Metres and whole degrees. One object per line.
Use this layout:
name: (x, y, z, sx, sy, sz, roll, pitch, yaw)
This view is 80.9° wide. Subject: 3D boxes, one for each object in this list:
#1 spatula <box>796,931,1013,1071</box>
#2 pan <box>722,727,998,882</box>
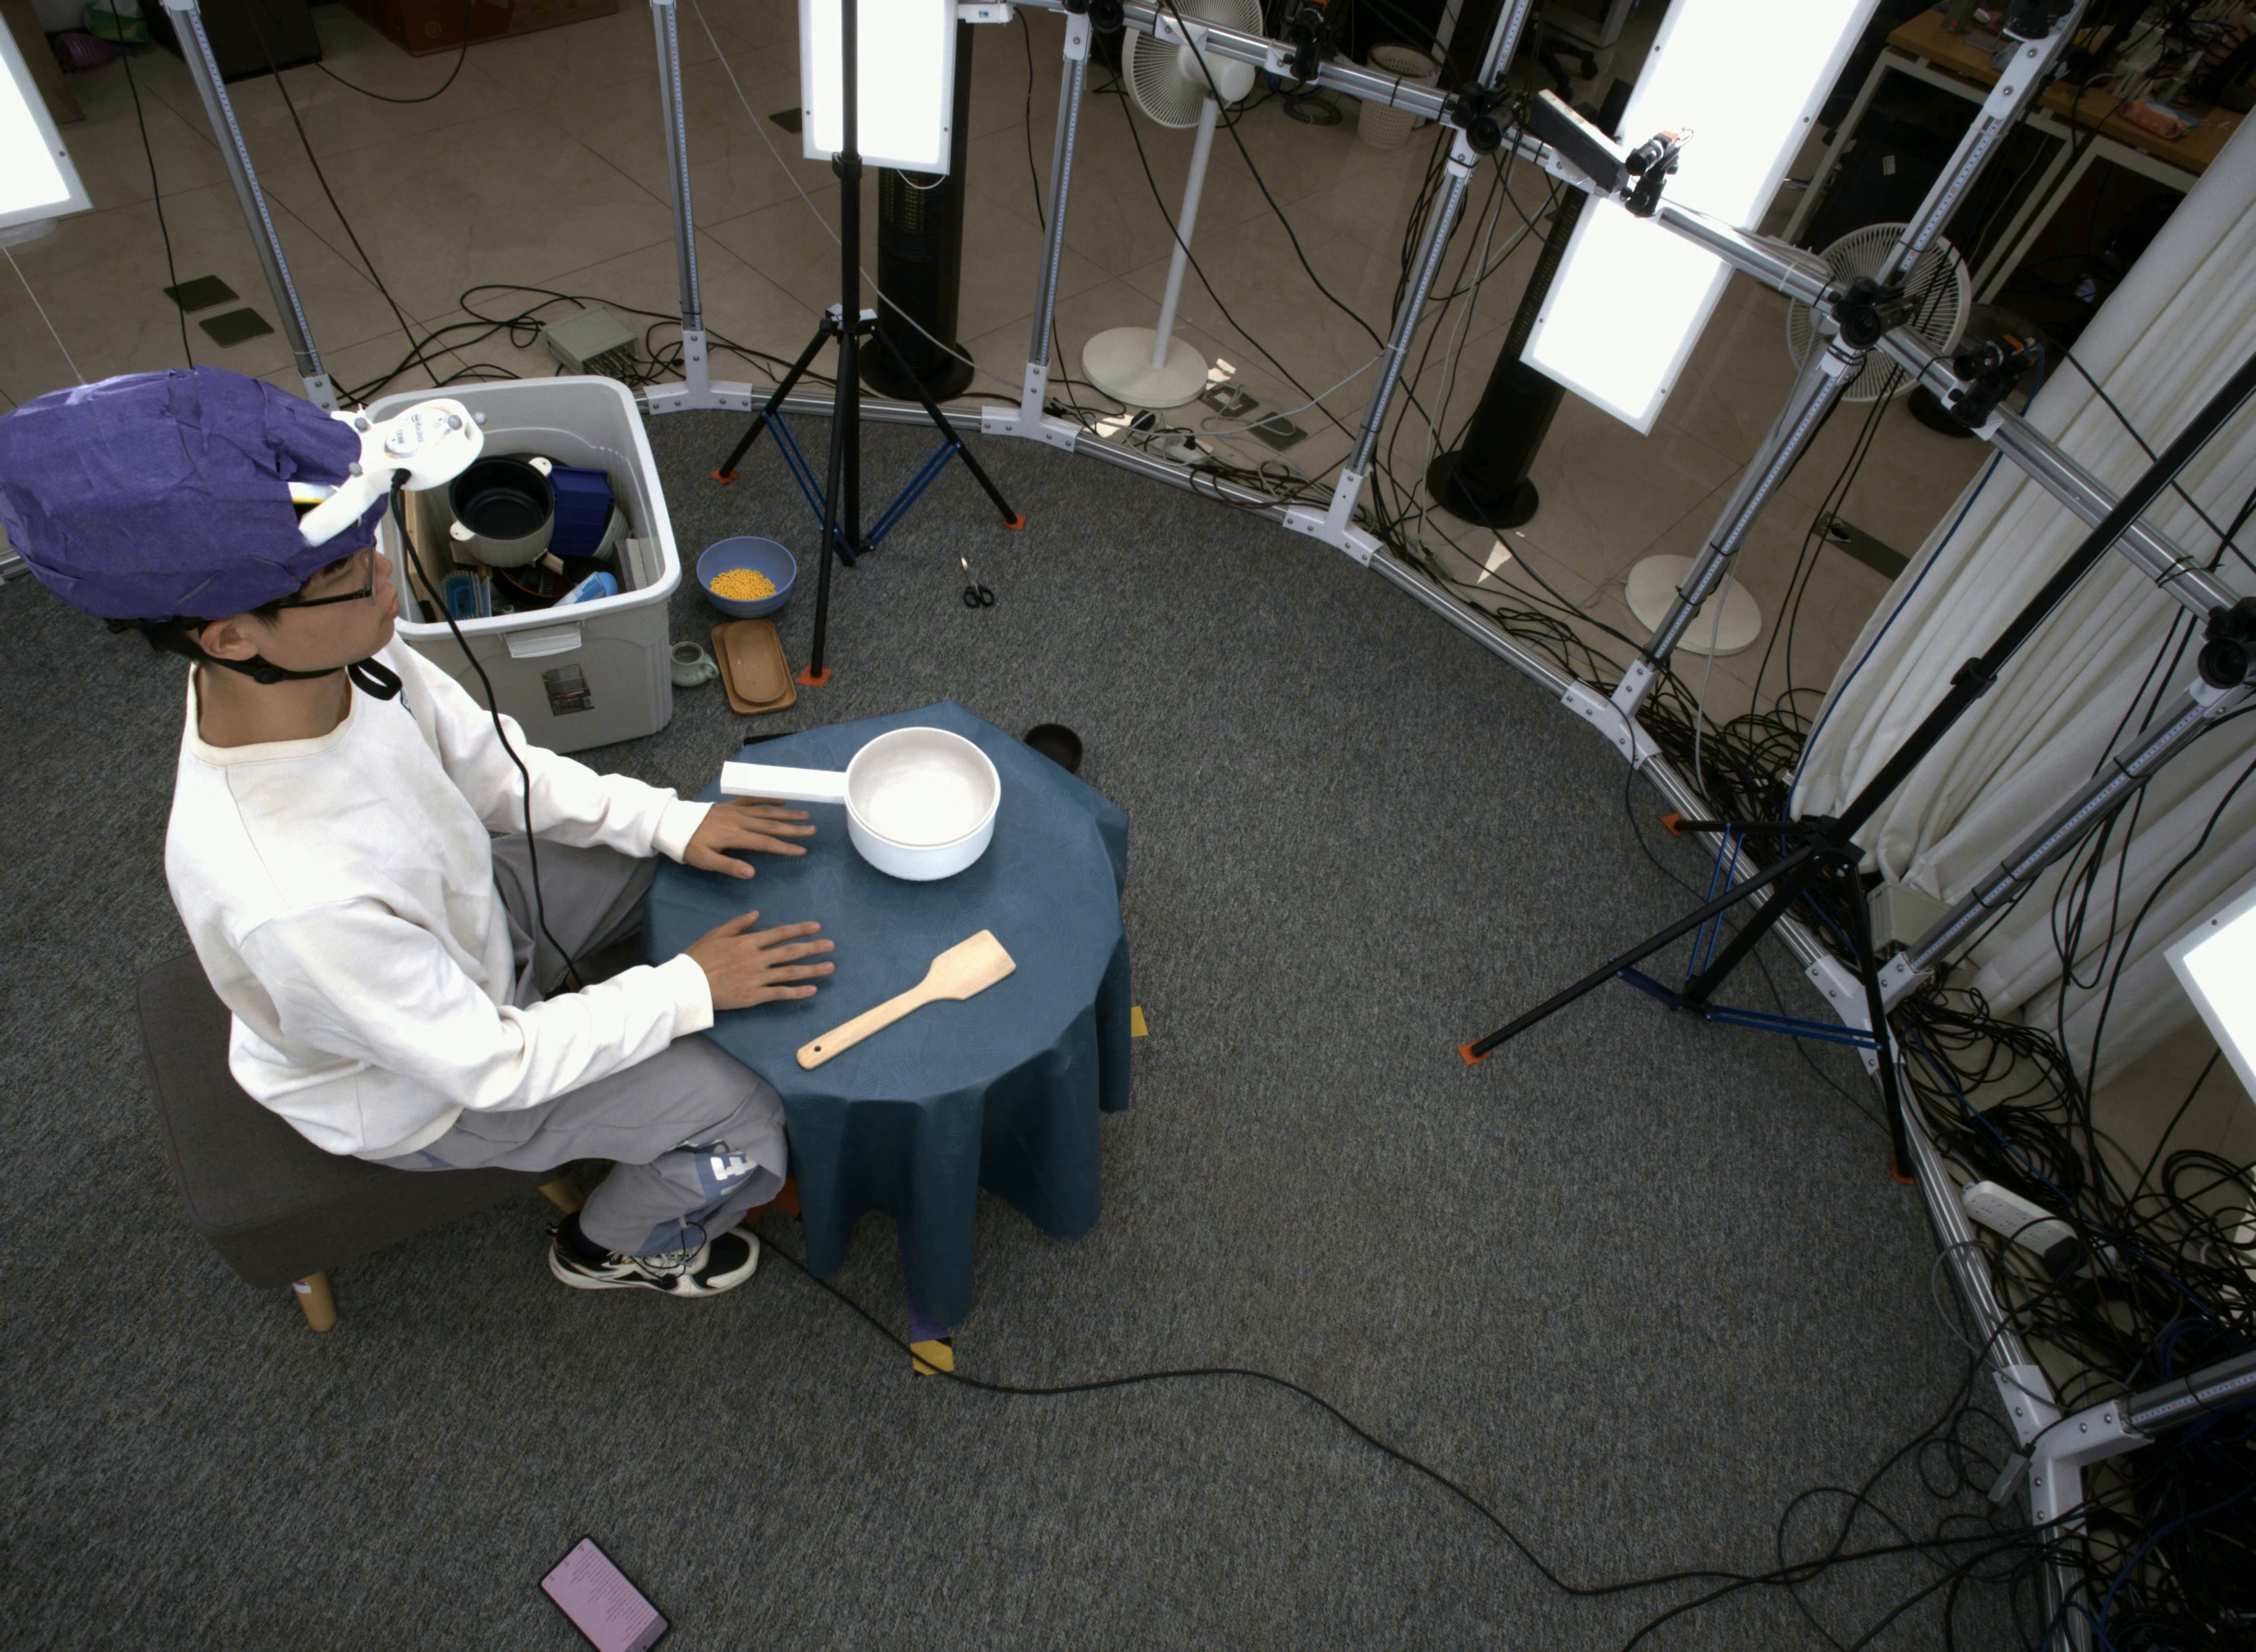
spatula: (-0.276, 0.219, 1.602, 0.294, 0.011, 0.070, -29, 66, -29)
pan: (-0.349, -0.029, 1.713, 0.354, 0.104, 0.197, 4, 54, -9)
